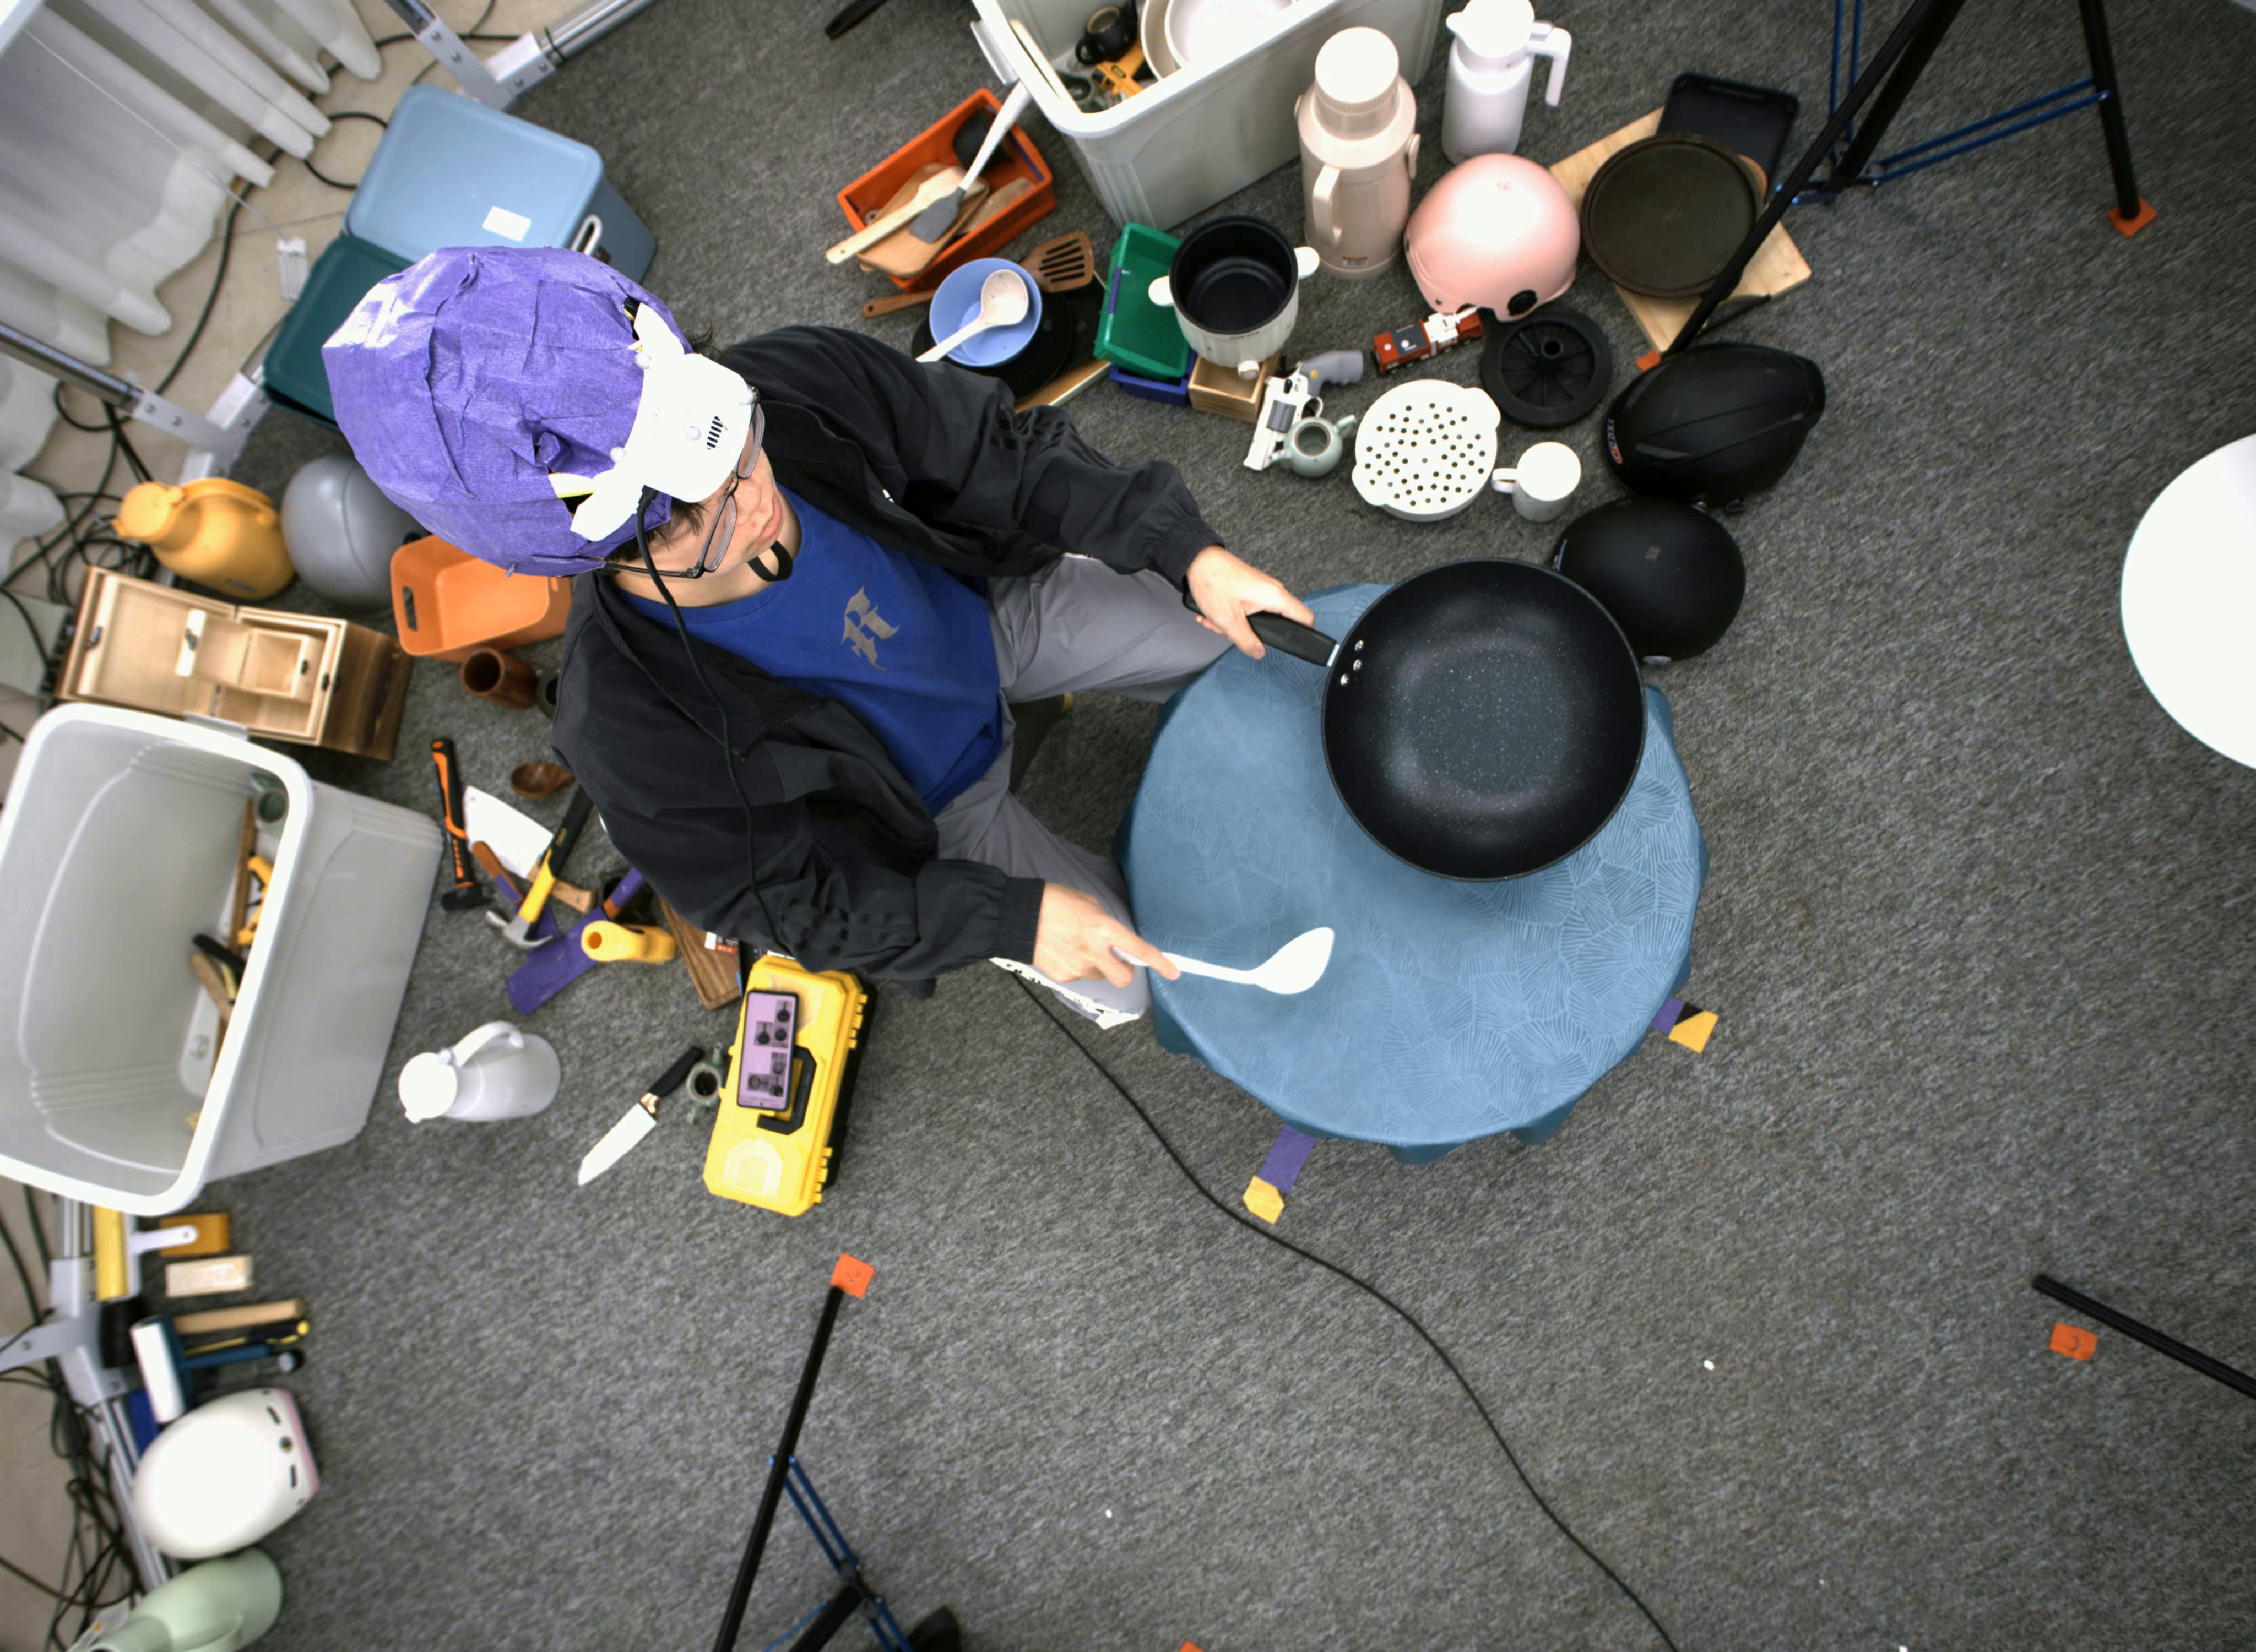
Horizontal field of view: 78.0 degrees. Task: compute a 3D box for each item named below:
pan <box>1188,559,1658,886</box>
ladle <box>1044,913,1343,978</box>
[{"bbox_3d":[0.280,-0.136,1.351,0.475,0.110,0.314,28,105,21],"label":"pan"},{"bbox_3d":[0.063,0.106,1.377,0.294,0.091,0.069,5,76,13],"label":"ladle"}]
